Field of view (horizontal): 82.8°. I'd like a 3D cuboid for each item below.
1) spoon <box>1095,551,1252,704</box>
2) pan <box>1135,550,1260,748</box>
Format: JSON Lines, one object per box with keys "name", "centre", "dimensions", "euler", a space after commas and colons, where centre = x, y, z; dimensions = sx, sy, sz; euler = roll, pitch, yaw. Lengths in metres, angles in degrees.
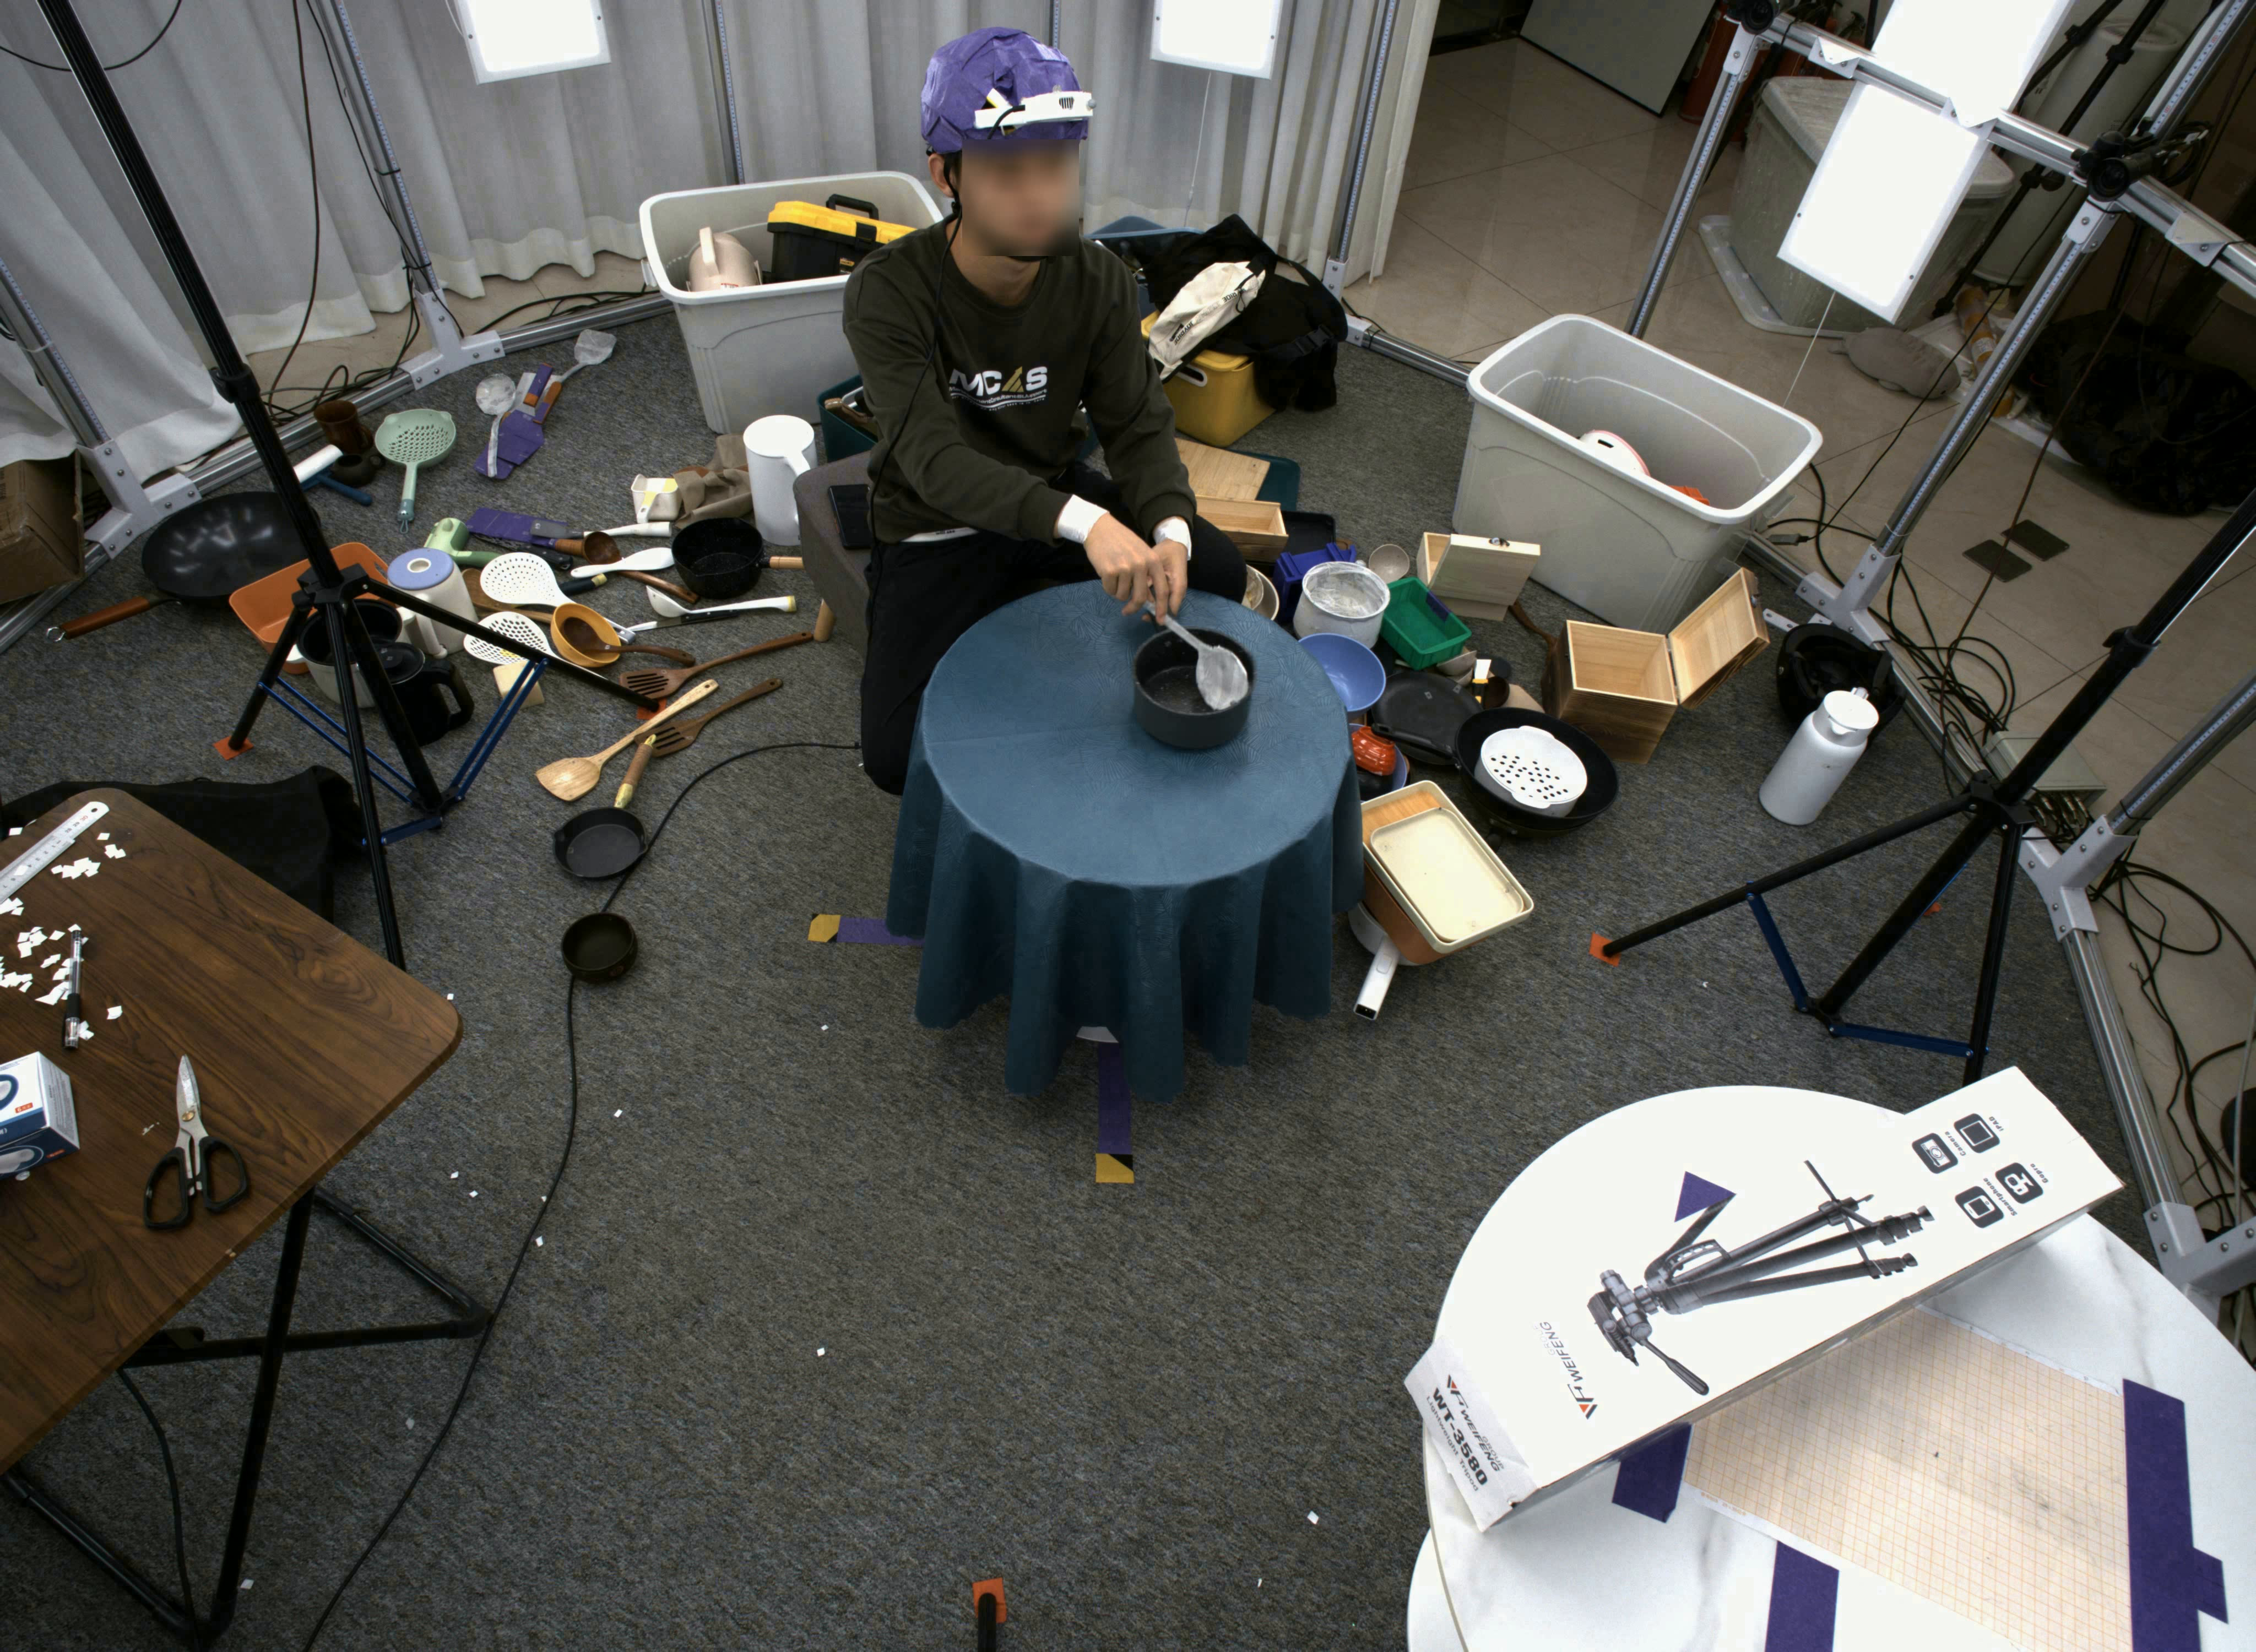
{"name": "spoon", "centre": [0.060, -0.272, 1.745], "dimensions": [0.274, 0.099, 0.061], "euler": [37, 43, -19]}
{"name": "pan", "centre": [0.072, -0.254, 1.824], "dimensions": [0.172, 0.084, 0.337], "euler": [-11, 52, -11]}
